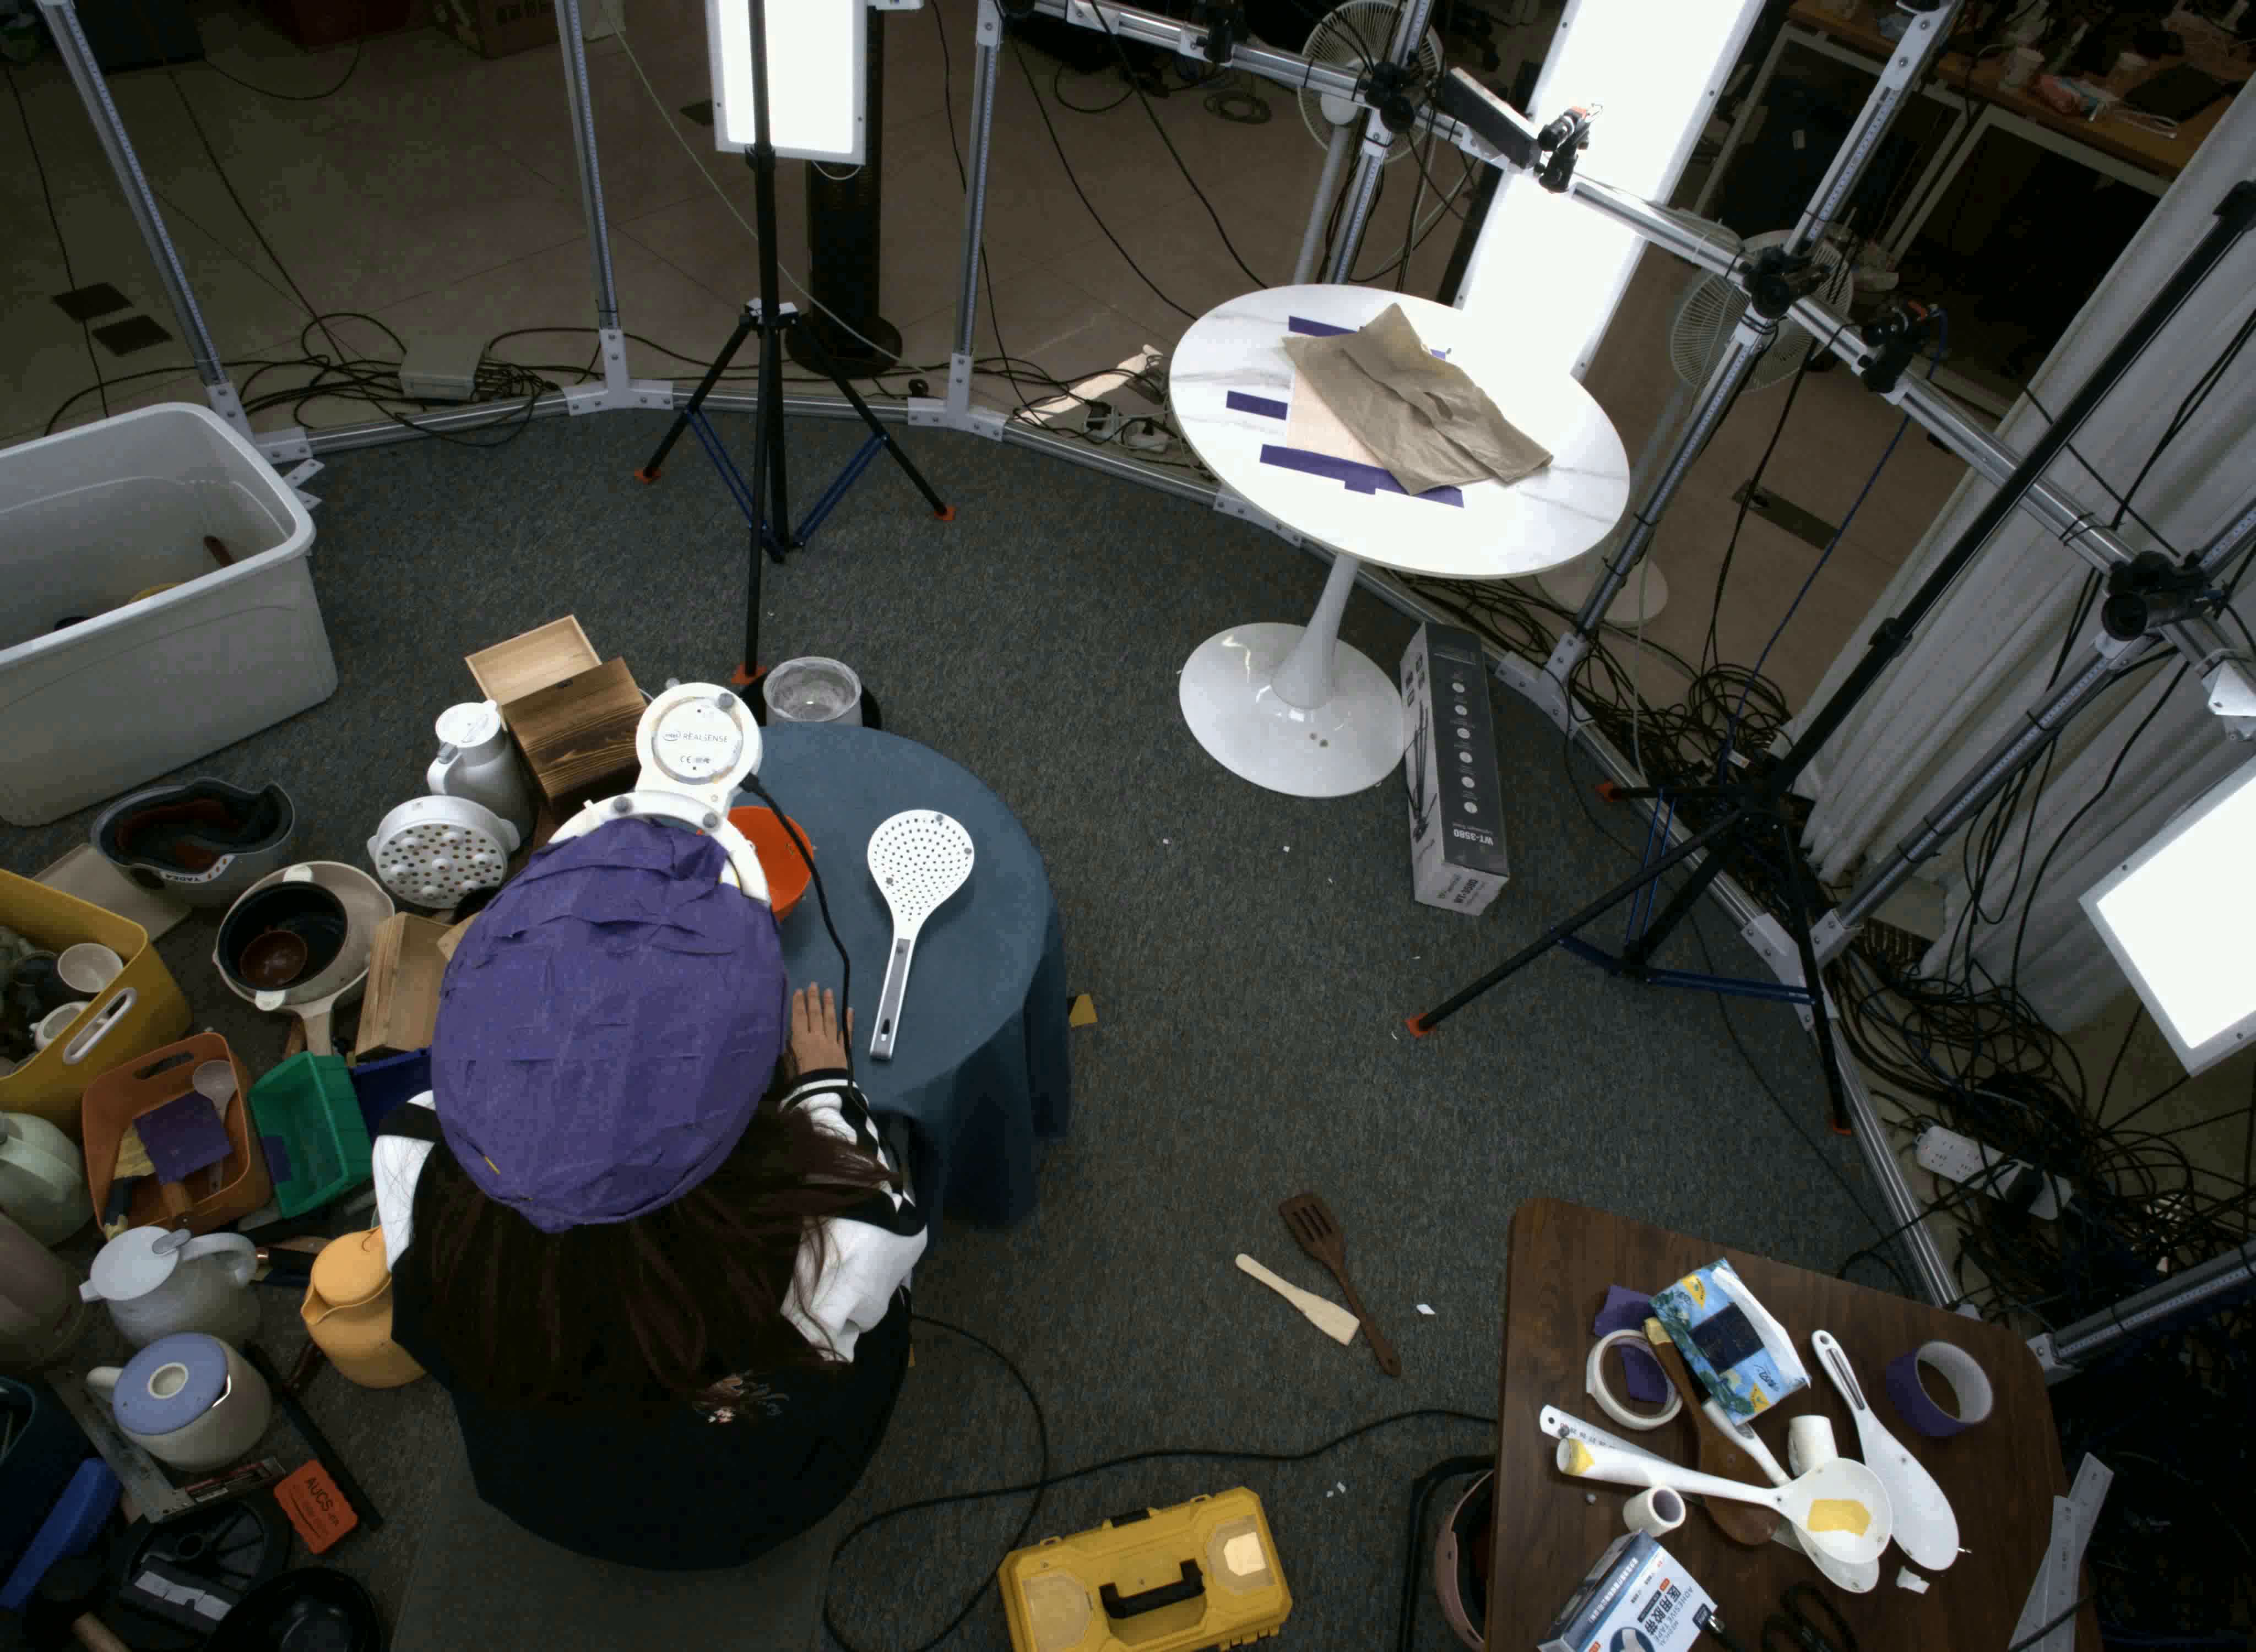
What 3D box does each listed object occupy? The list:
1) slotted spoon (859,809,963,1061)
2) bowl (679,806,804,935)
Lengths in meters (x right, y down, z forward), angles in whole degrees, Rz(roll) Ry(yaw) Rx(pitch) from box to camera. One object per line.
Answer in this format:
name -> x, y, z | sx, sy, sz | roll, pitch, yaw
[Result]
slotted spoon -> -0.289, 0.128, 1.629 | 0.135, 0.047, 0.344 | 9, 53, -6
bowl -> -0.474, 0.065, 1.590 | 0.148, 0.106, 0.145 | 10, 50, -11
